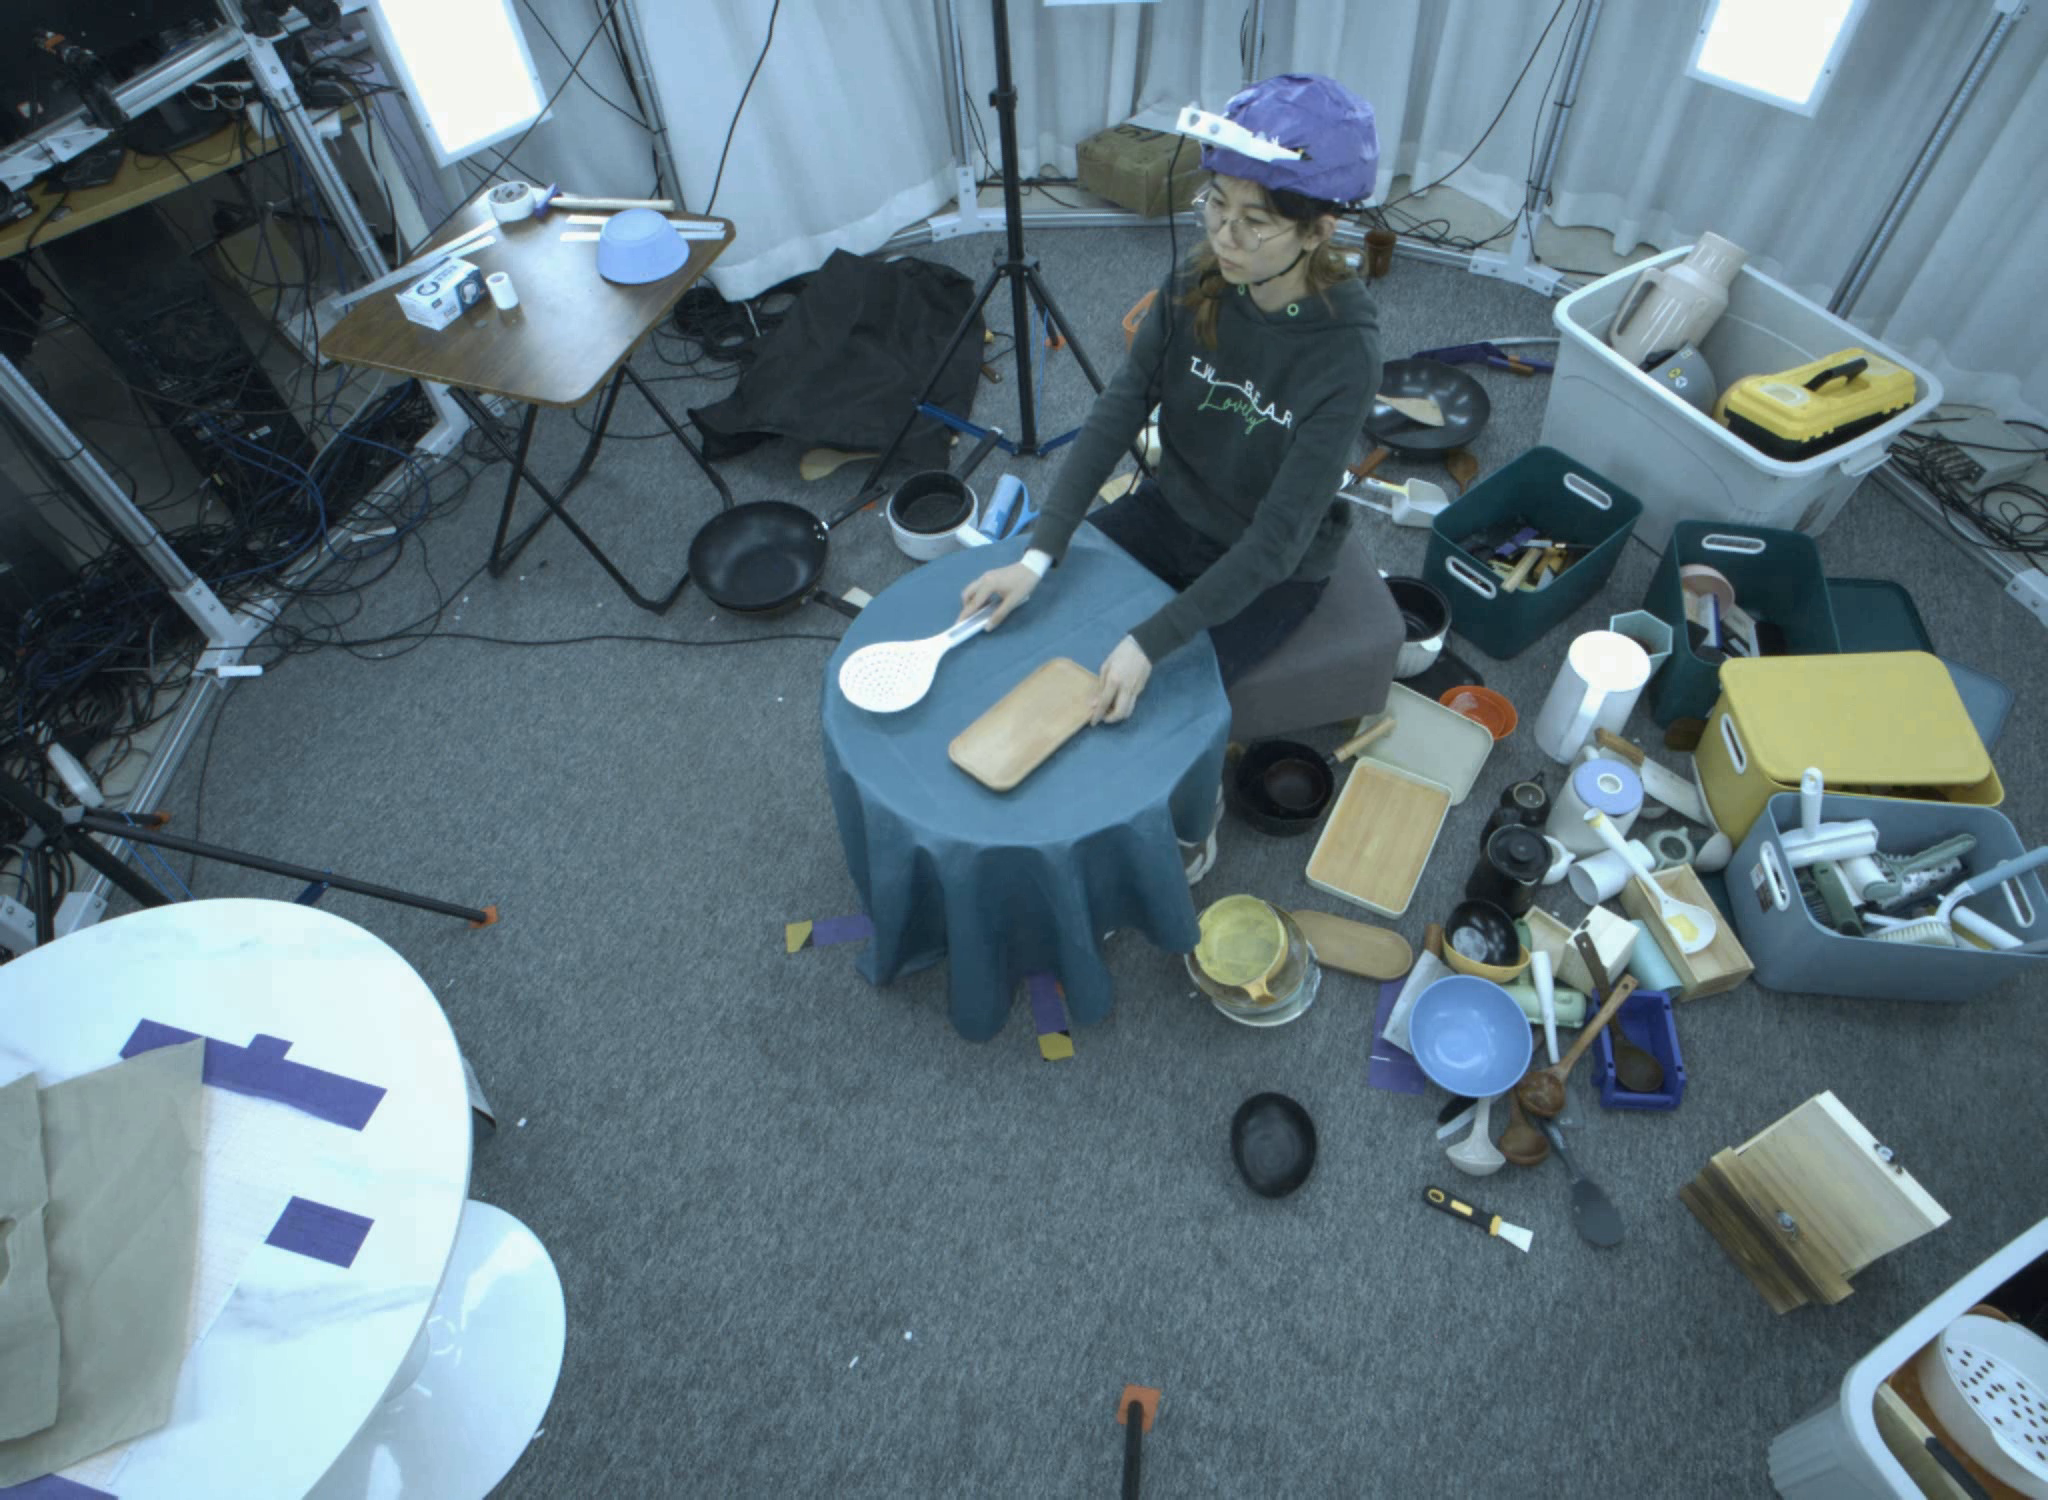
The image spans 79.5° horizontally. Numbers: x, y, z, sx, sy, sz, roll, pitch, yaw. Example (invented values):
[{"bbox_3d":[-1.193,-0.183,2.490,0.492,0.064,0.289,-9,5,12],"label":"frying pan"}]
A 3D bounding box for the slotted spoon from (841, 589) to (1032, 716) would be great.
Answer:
[{"bbox_3d":[-0.125,-0.157,1.883,0.352,0.046,0.134,-38,65,-22],"label":"slotted spoon"}]

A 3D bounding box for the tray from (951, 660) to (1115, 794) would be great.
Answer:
[{"bbox_3d":[0.015,-0.036,1.806,0.128,0.023,0.252,35,62,27],"label":"tray"}]
